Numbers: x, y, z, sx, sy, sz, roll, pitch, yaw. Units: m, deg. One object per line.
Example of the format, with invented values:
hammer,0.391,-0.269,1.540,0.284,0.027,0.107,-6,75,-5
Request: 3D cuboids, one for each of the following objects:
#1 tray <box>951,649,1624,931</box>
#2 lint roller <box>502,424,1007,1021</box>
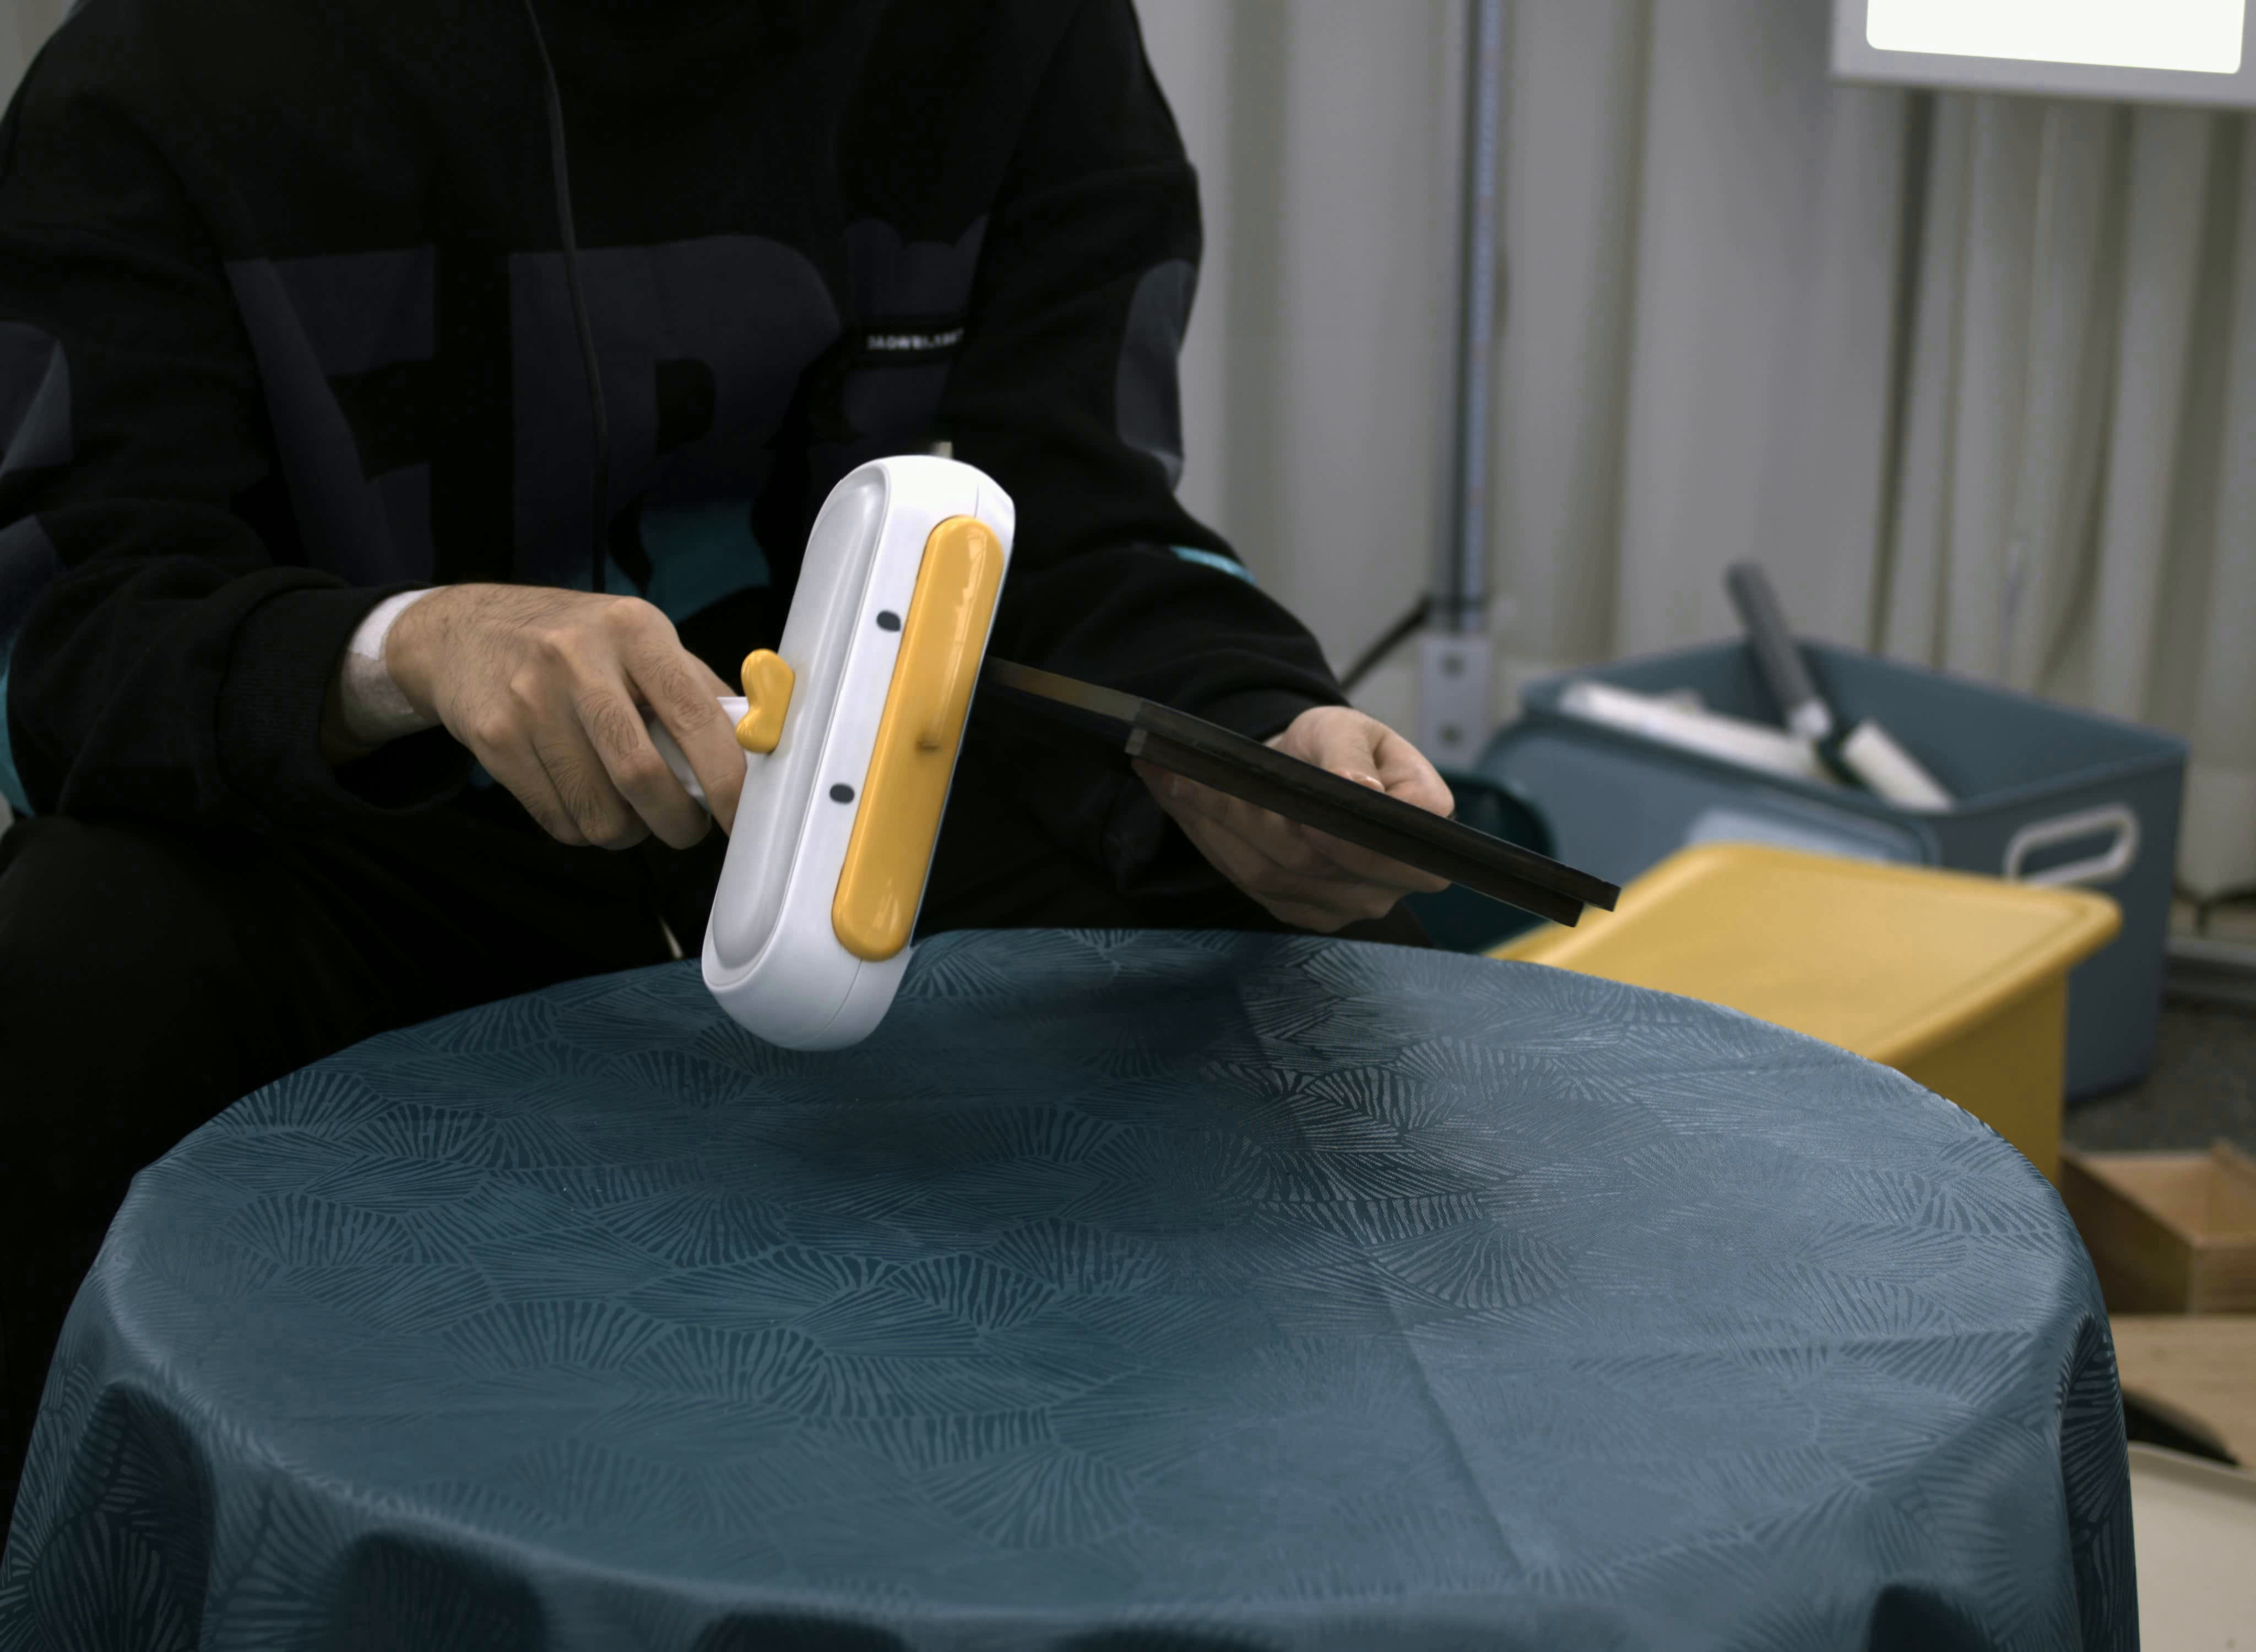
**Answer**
tray,0.024,-0.018,1.682,0.171,0.018,0.303,22,-1,-22
lint roller,-0.123,-0.025,1.667,0.075,0.192,0.191,21,-23,-35
